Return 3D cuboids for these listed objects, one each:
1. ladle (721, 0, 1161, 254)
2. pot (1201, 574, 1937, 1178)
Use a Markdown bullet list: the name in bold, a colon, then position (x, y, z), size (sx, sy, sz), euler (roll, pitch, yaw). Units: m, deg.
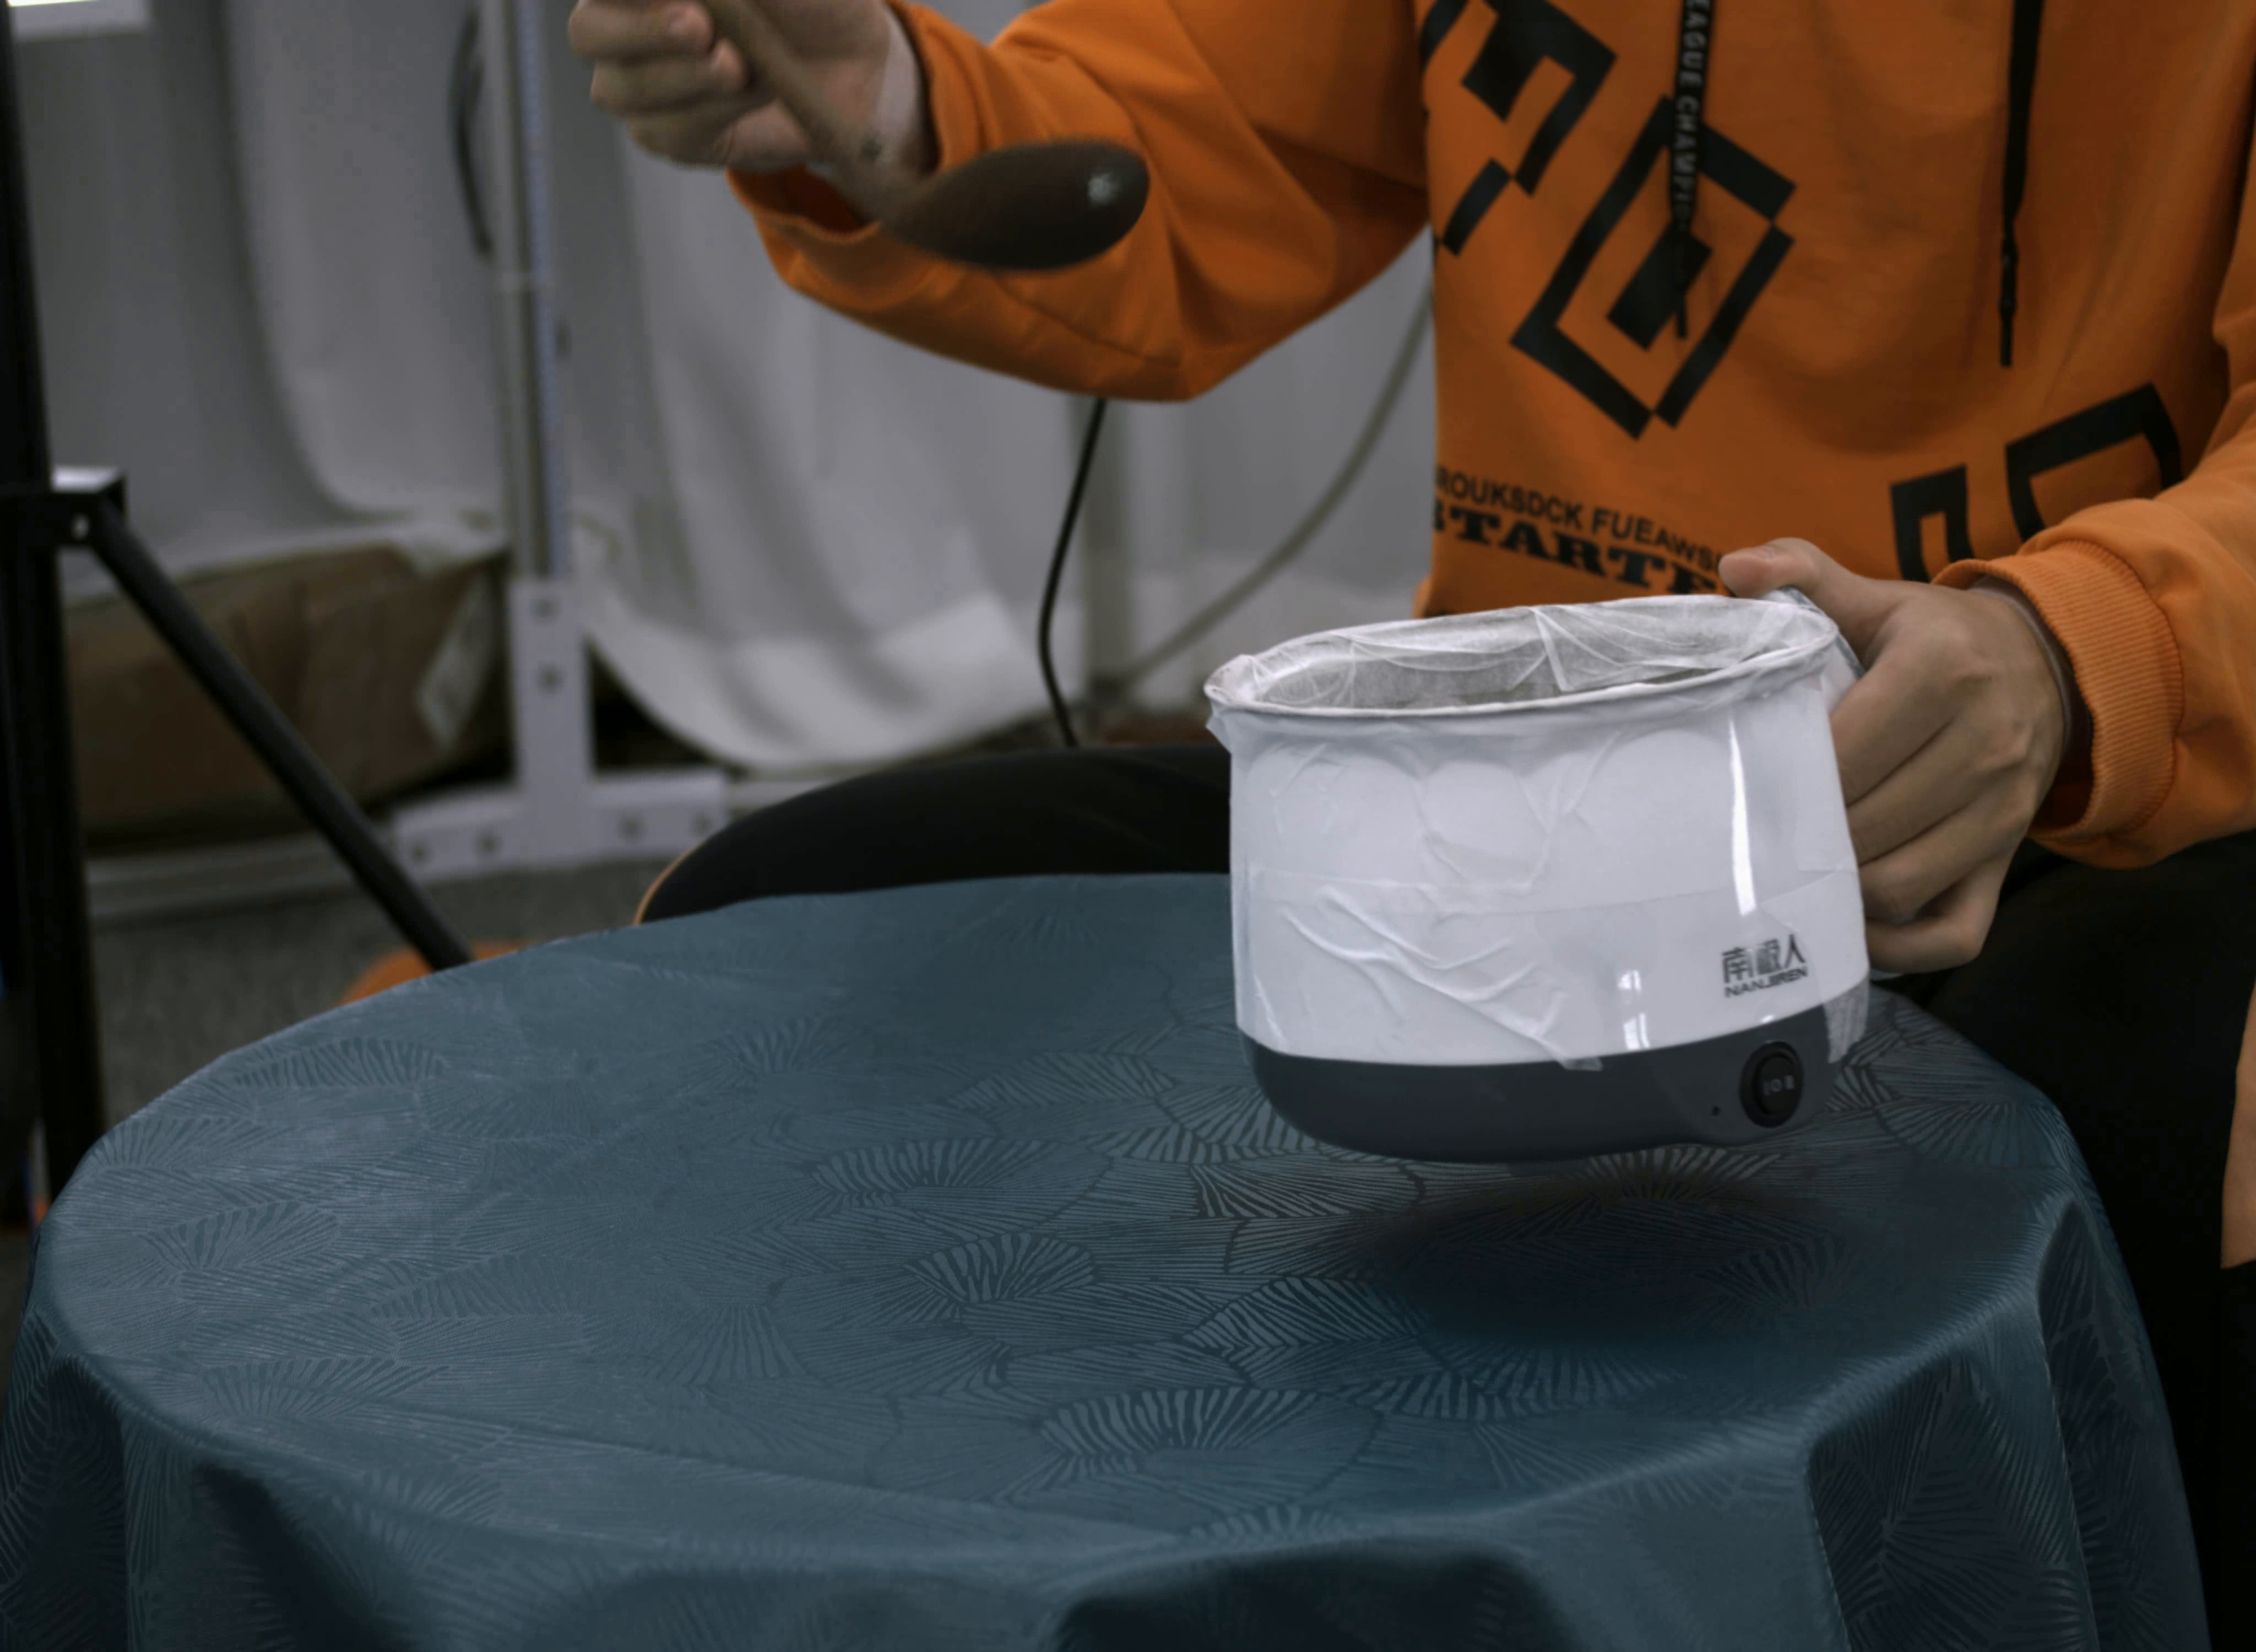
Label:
- **ladle**: position (-0.097, -0.255, 1.625), size (0.280, 0.071, 0.074), euler (42, 17, 32)
- **pot**: position (0.135, 0.009, 1.491), size (0.228, 0.137, 0.182), euler (-13, 13, -37)
